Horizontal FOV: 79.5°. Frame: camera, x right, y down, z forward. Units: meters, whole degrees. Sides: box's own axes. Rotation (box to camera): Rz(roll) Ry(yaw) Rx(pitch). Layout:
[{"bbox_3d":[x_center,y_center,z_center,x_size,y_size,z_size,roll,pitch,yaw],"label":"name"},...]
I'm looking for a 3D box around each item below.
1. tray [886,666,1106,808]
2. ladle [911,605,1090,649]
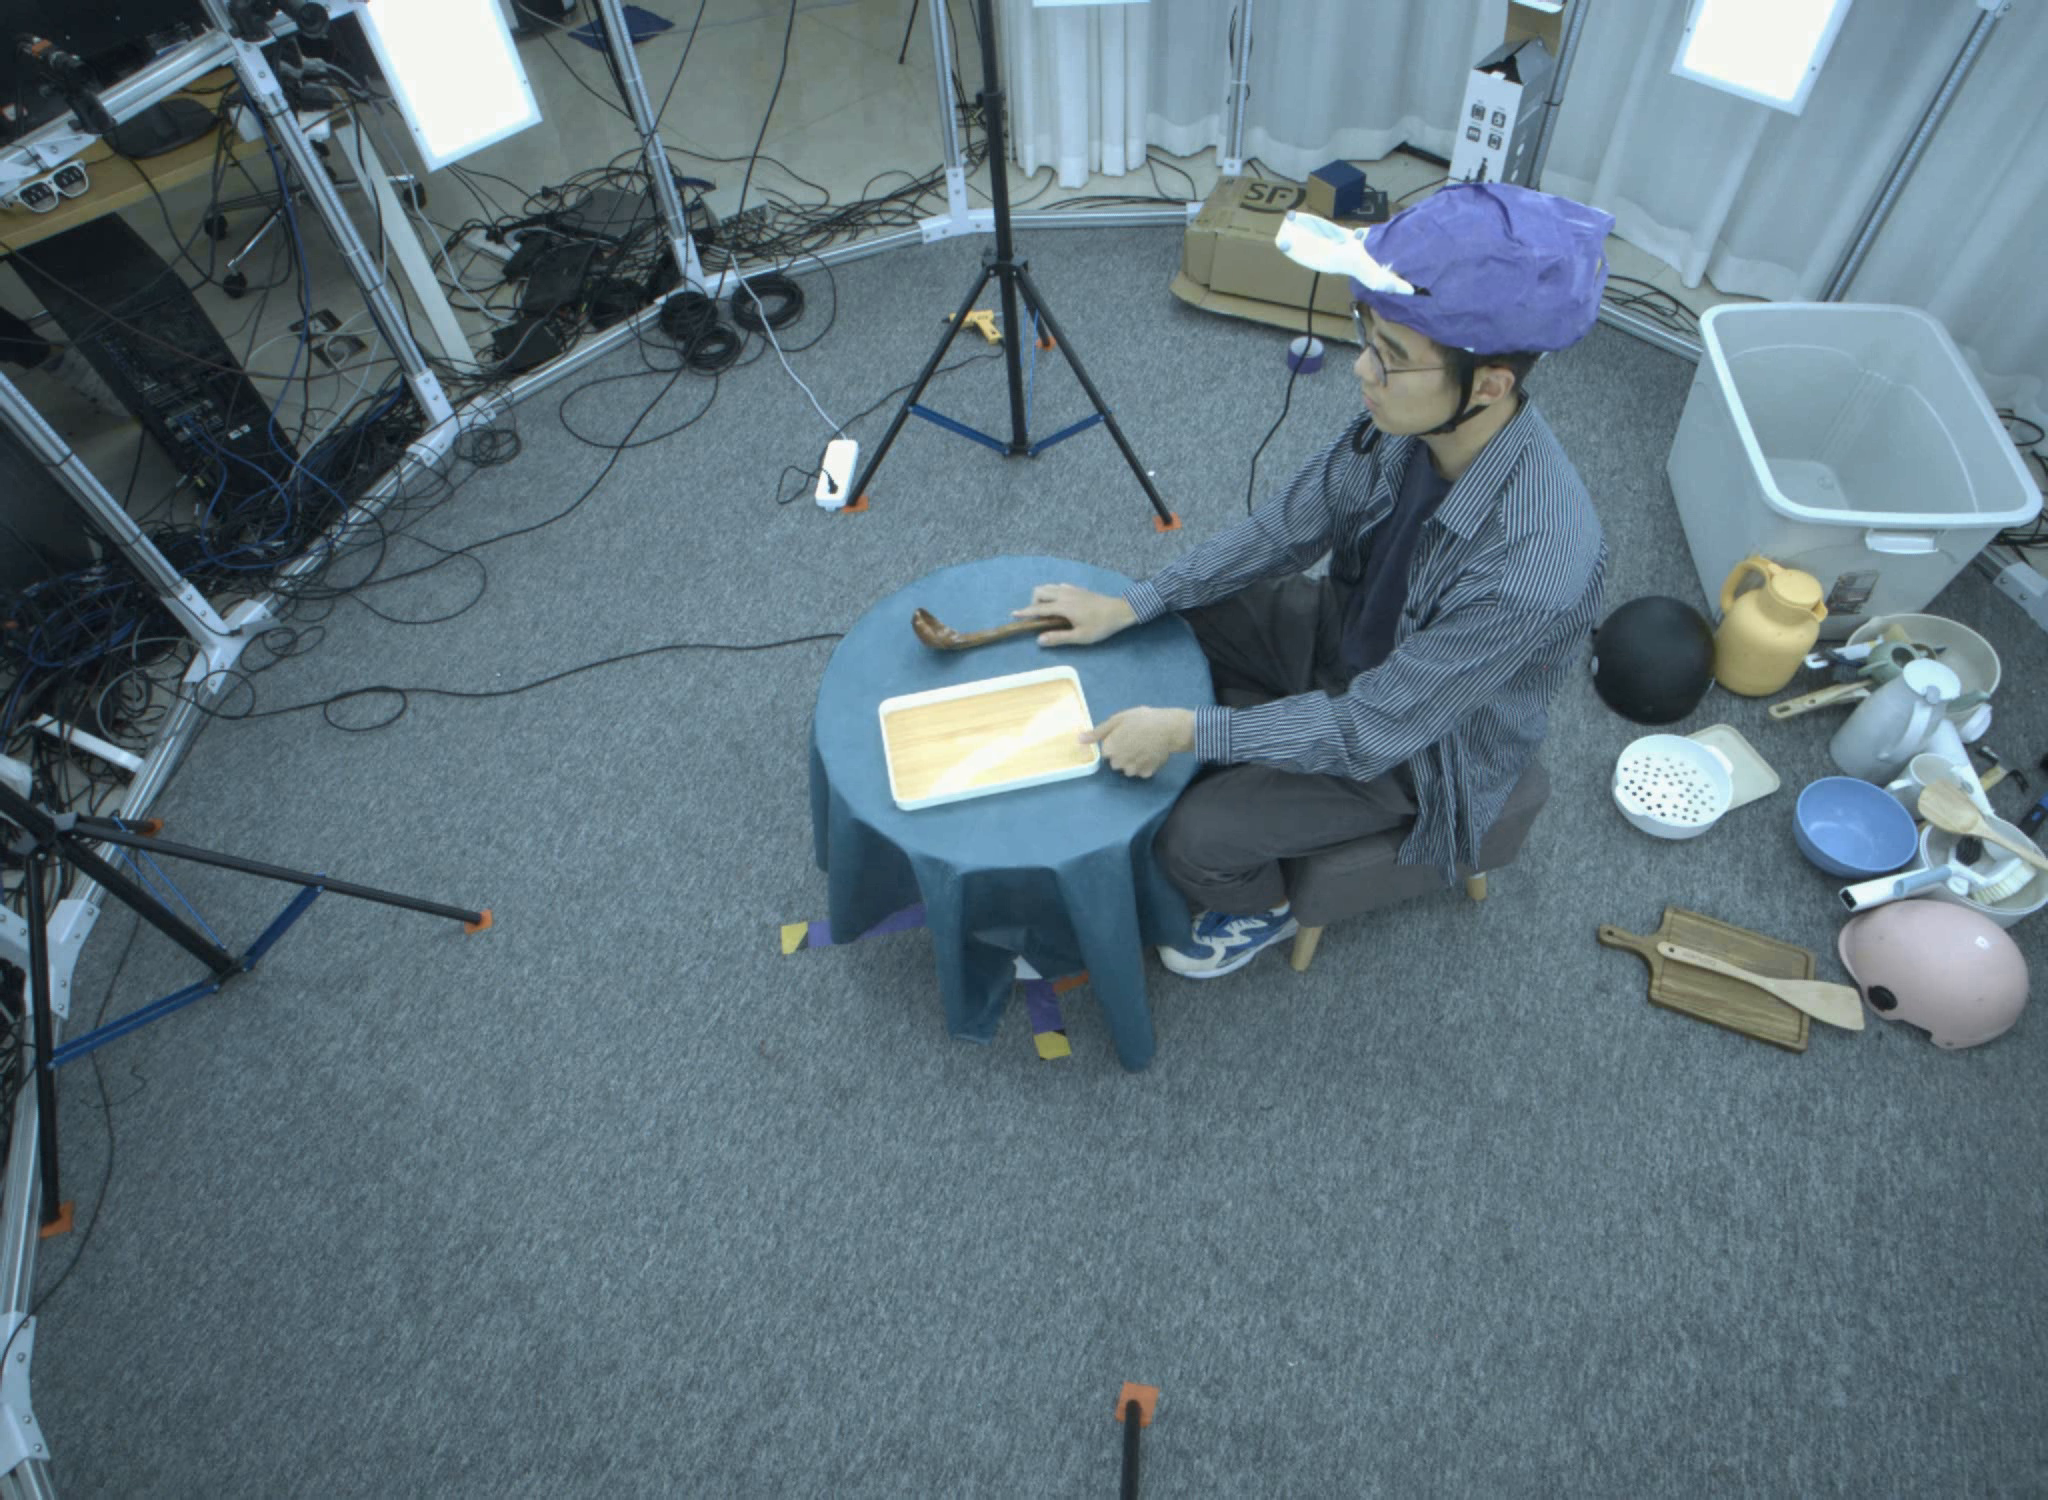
[{"bbox_3d":[-0.044,-0.022,1.794,0.301,0.028,0.189,-10,55,-6],"label":"tray"},{"bbox_3d":[-0.038,-0.207,1.894,0.275,0.077,0.080,-11,37,-5],"label":"ladle"}]
